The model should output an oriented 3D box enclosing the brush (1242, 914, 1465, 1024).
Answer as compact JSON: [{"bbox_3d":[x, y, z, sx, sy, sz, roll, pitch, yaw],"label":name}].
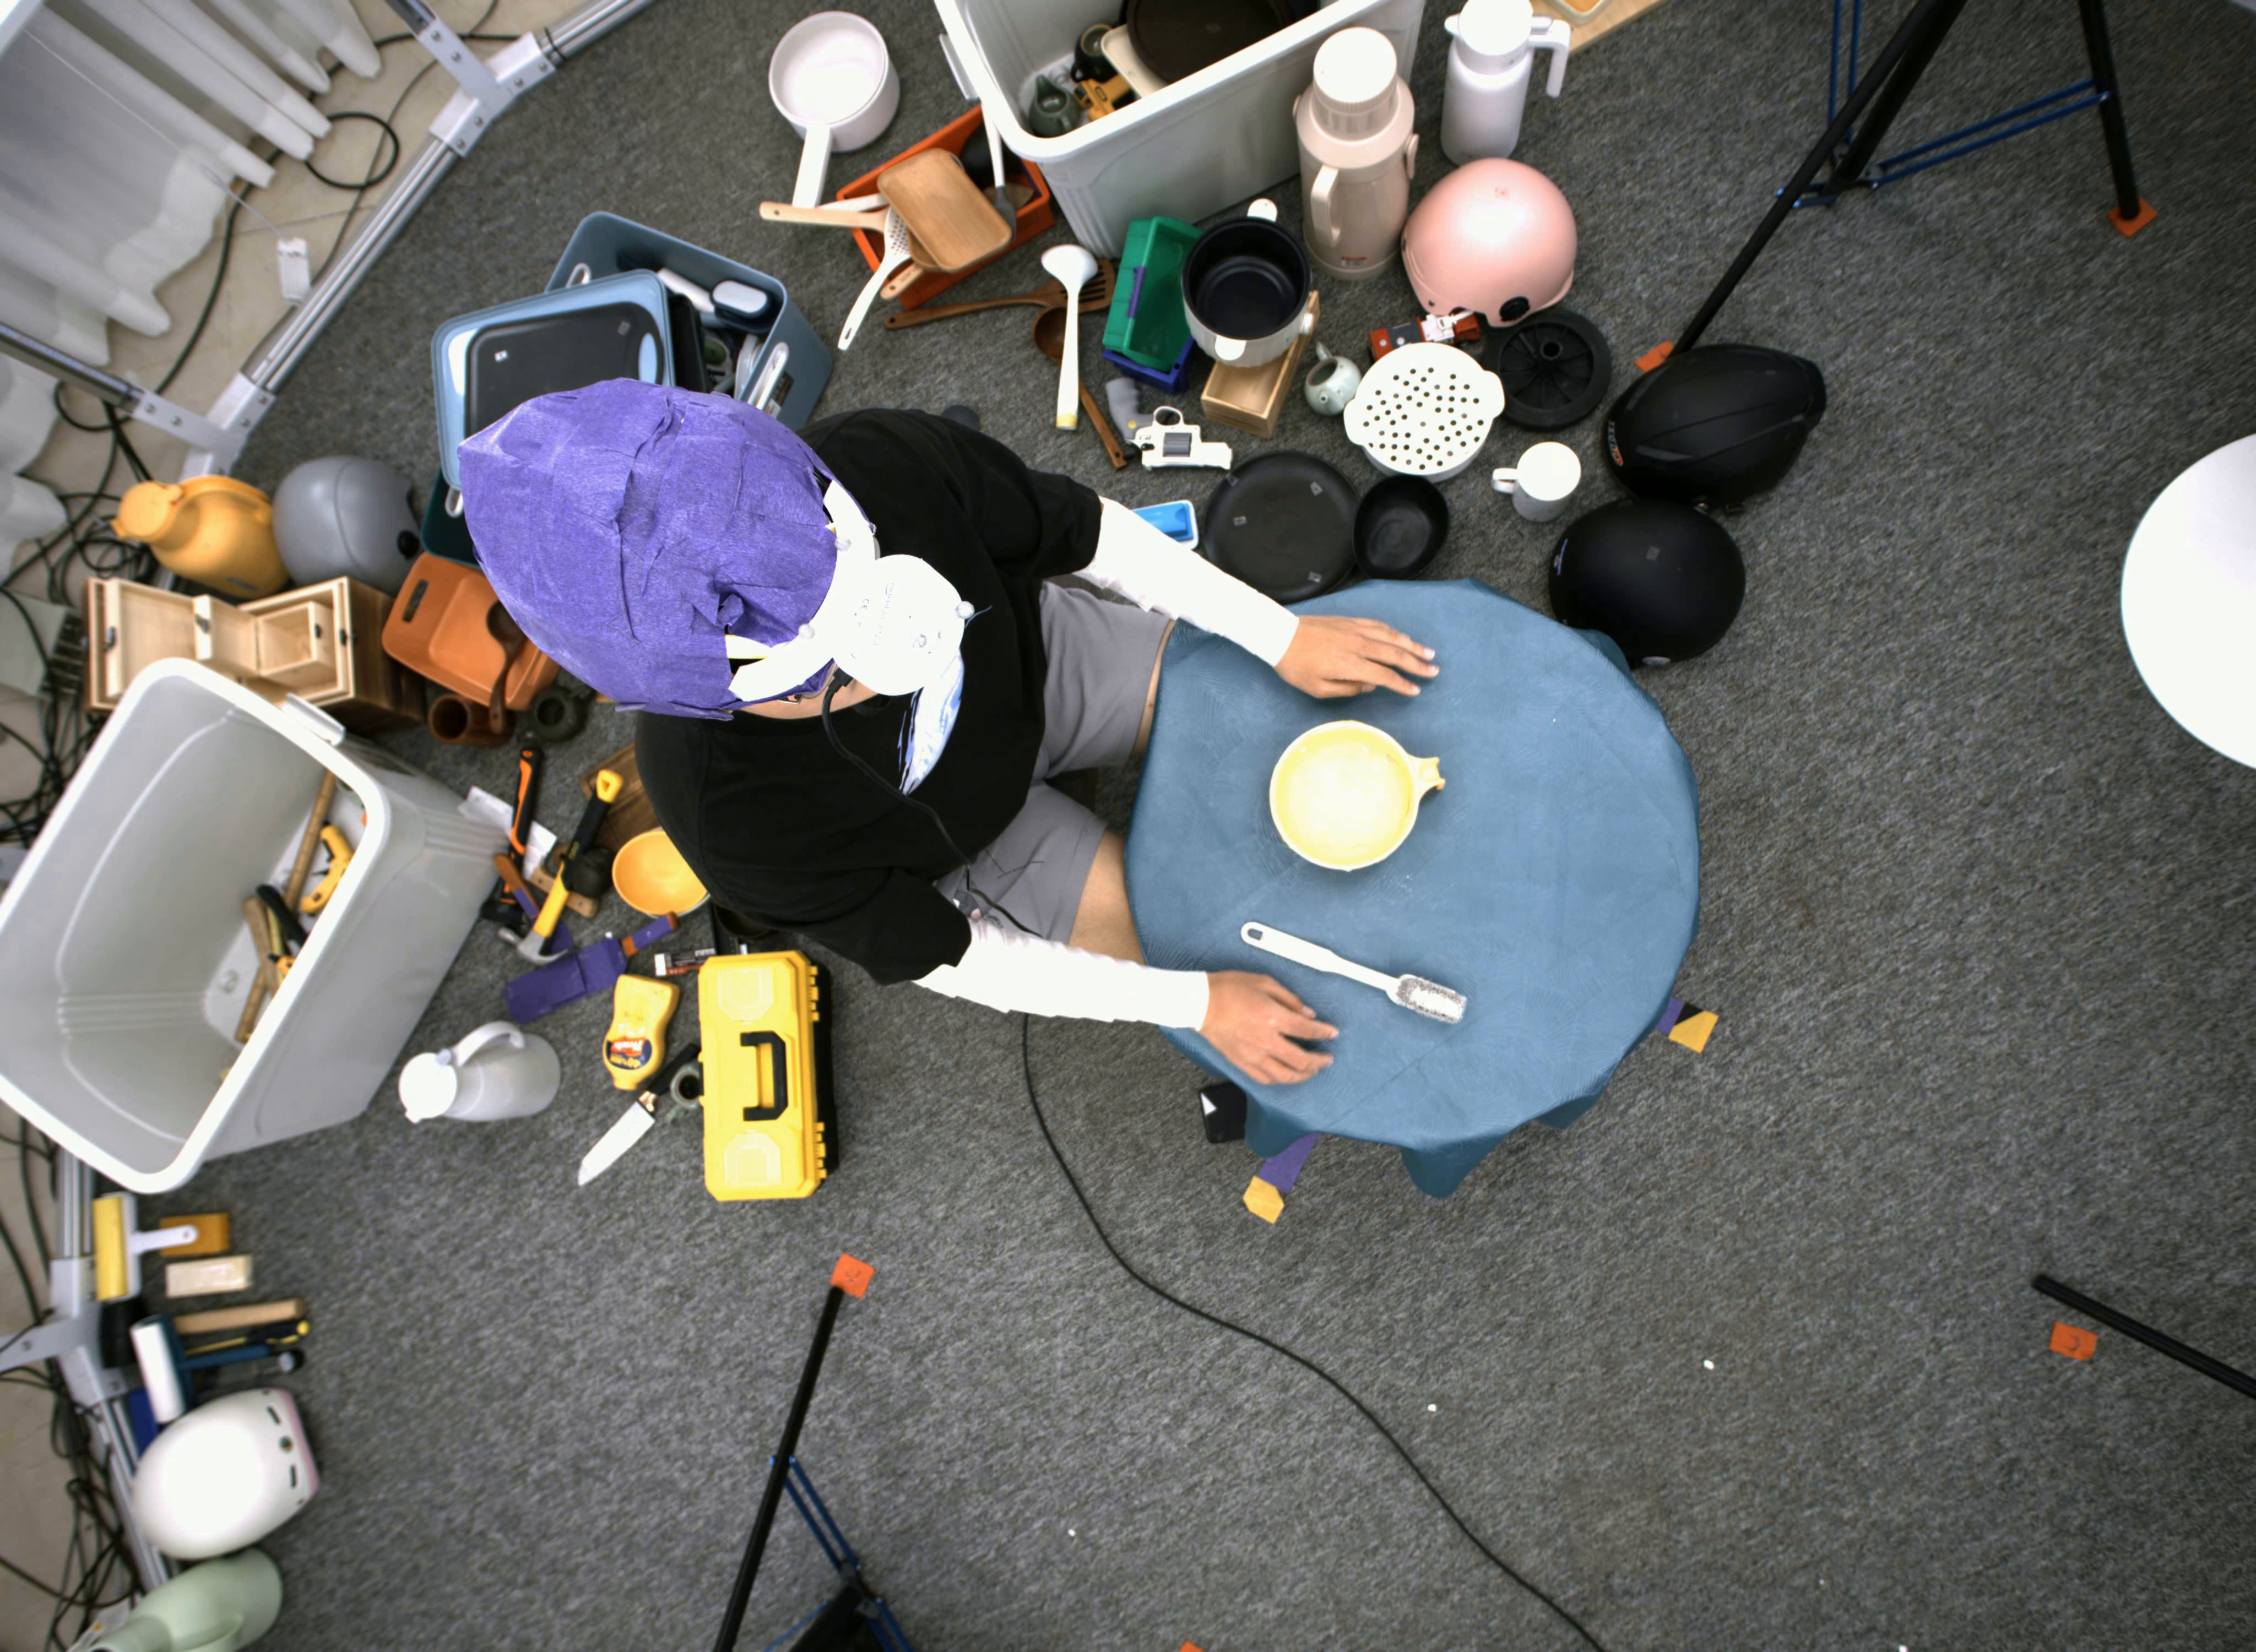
[{"bbox_3d":[0.230,0.144,1.437,0.243,0.050,0.034,22,91,11],"label":"brush"}]

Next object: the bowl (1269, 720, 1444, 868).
[{"bbox_3d":[0.238,-0.032,1.435,0.180,0.074,0.151,-18,79,8],"label":"bowl"}]
